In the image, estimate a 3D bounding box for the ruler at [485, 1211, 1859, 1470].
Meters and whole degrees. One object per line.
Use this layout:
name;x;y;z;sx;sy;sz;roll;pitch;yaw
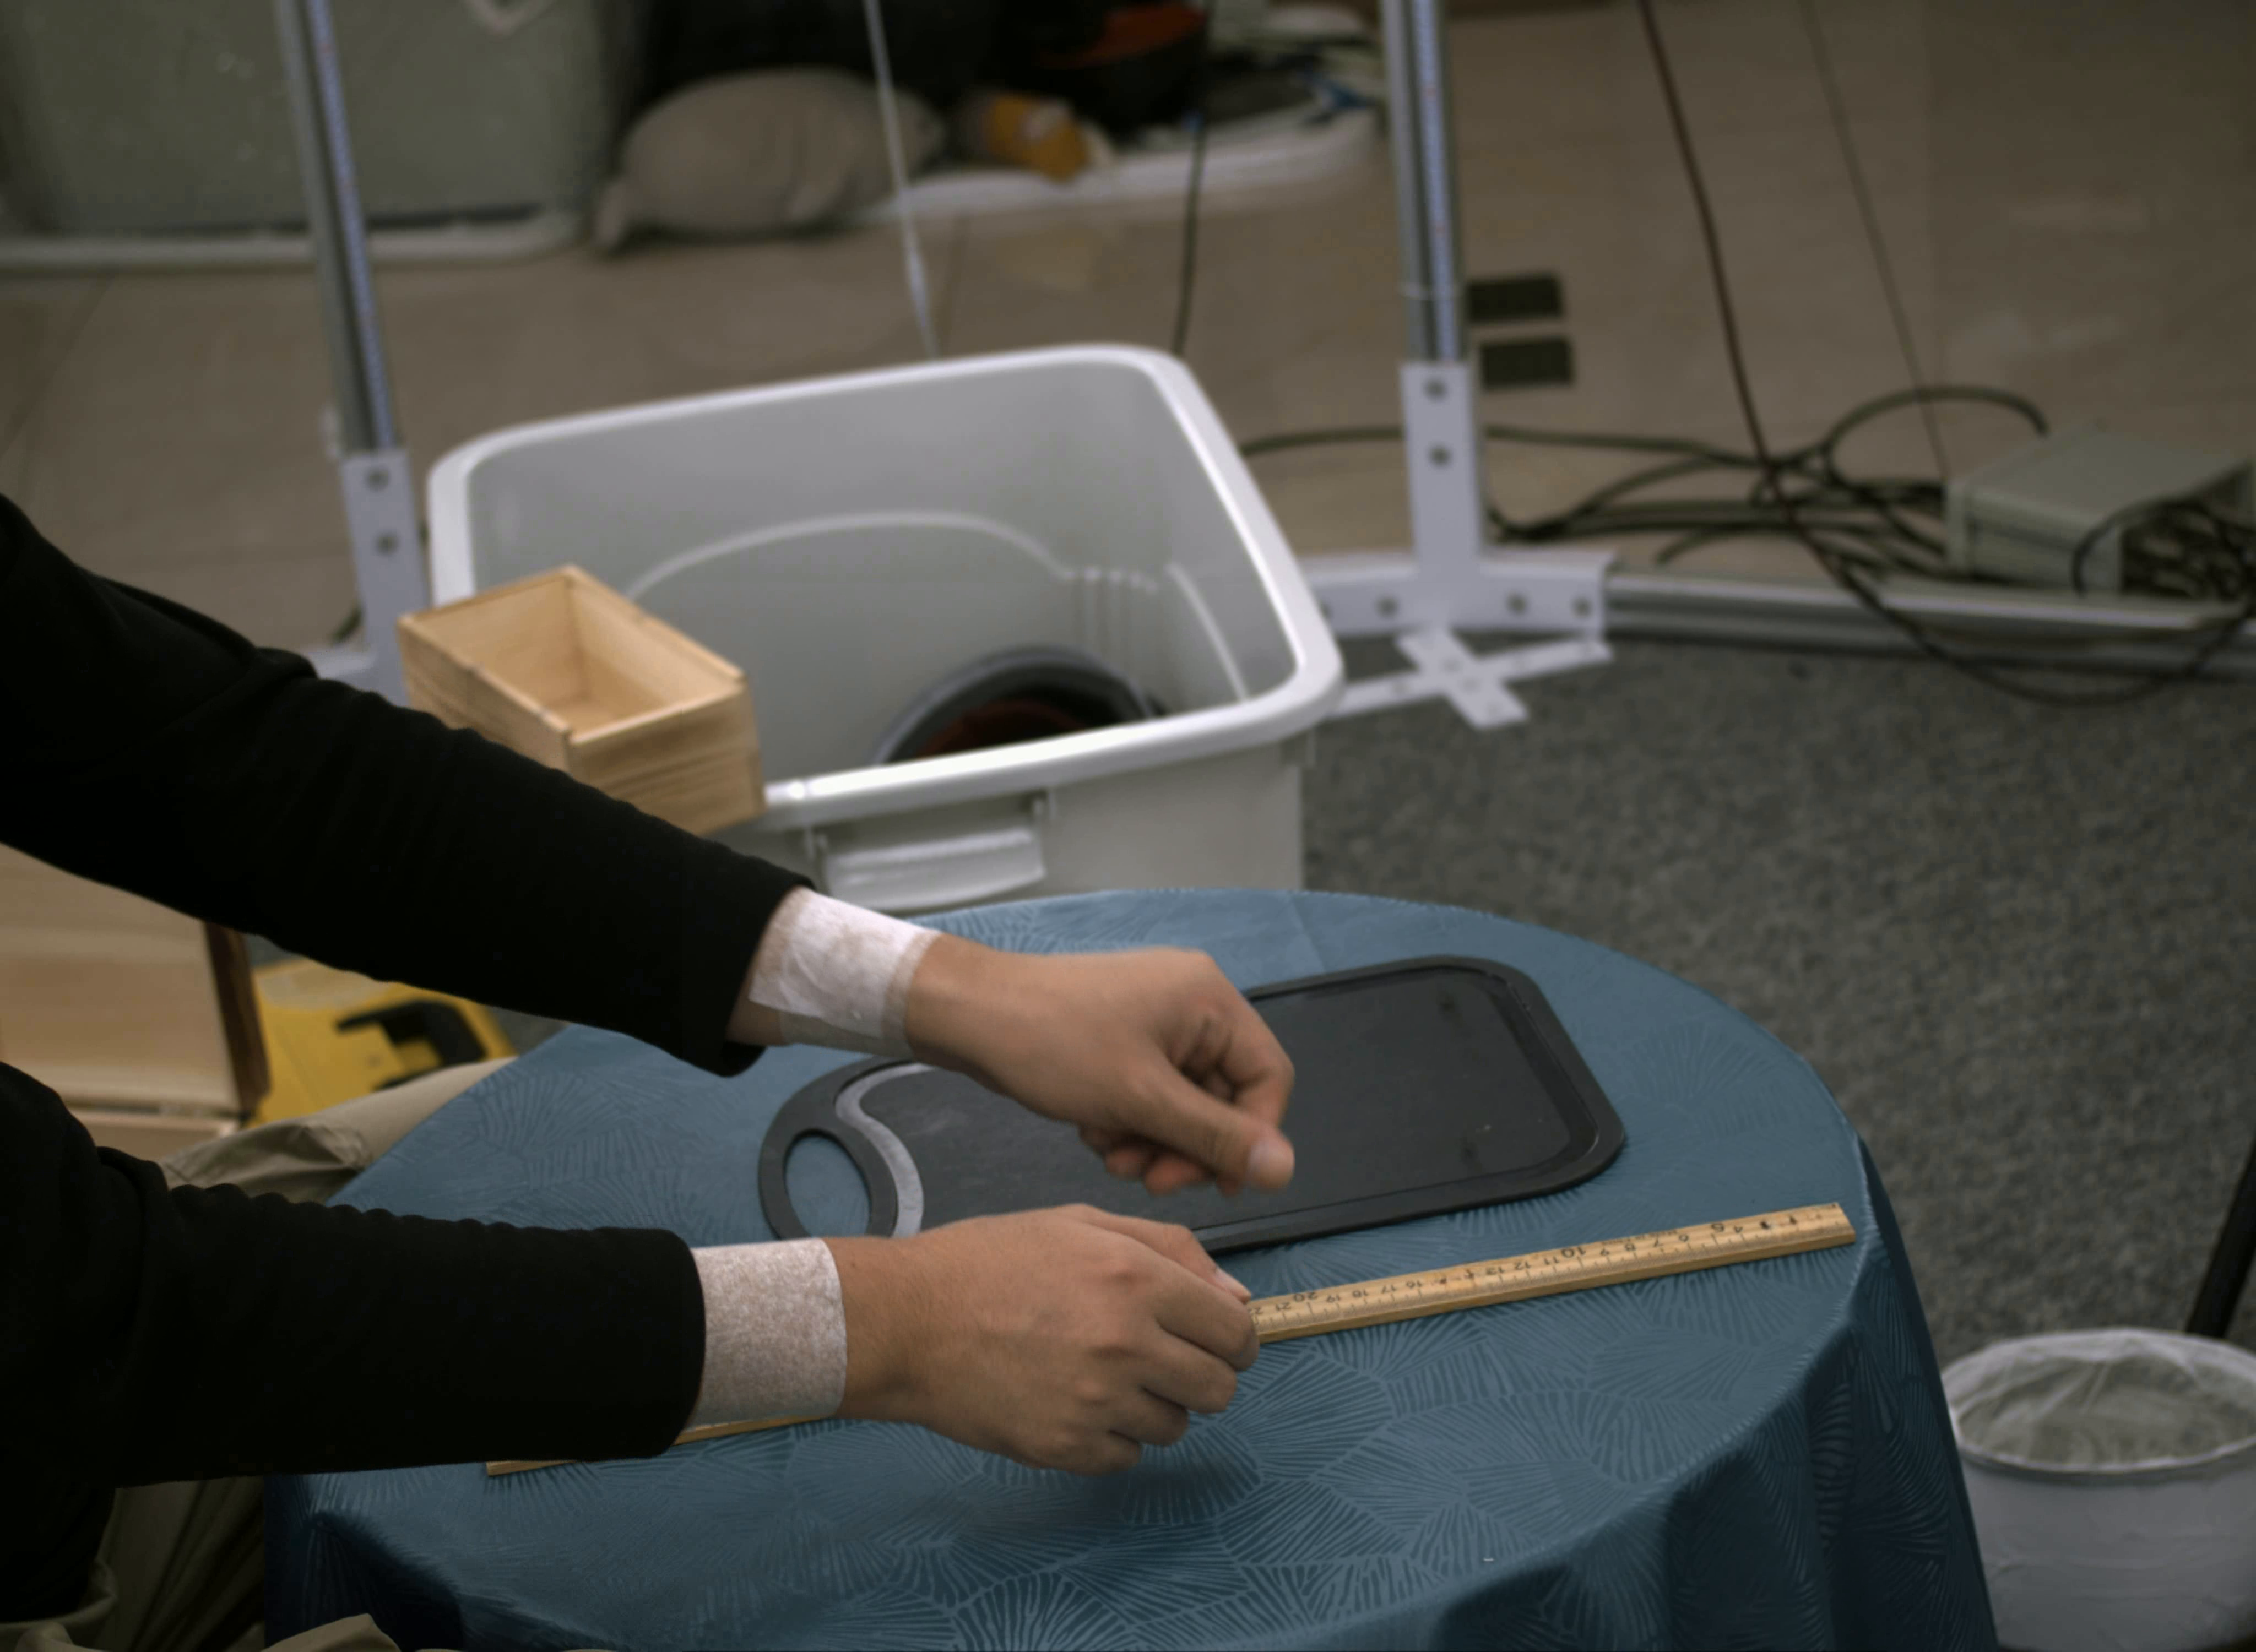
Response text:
ruler;0.017;0.183;2.042;0.499;0.006;0.026;-9;23;-5

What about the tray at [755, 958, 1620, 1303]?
tray;0.018;0.115;2.188;0.325;0.010;0.208;-10;25;-7
